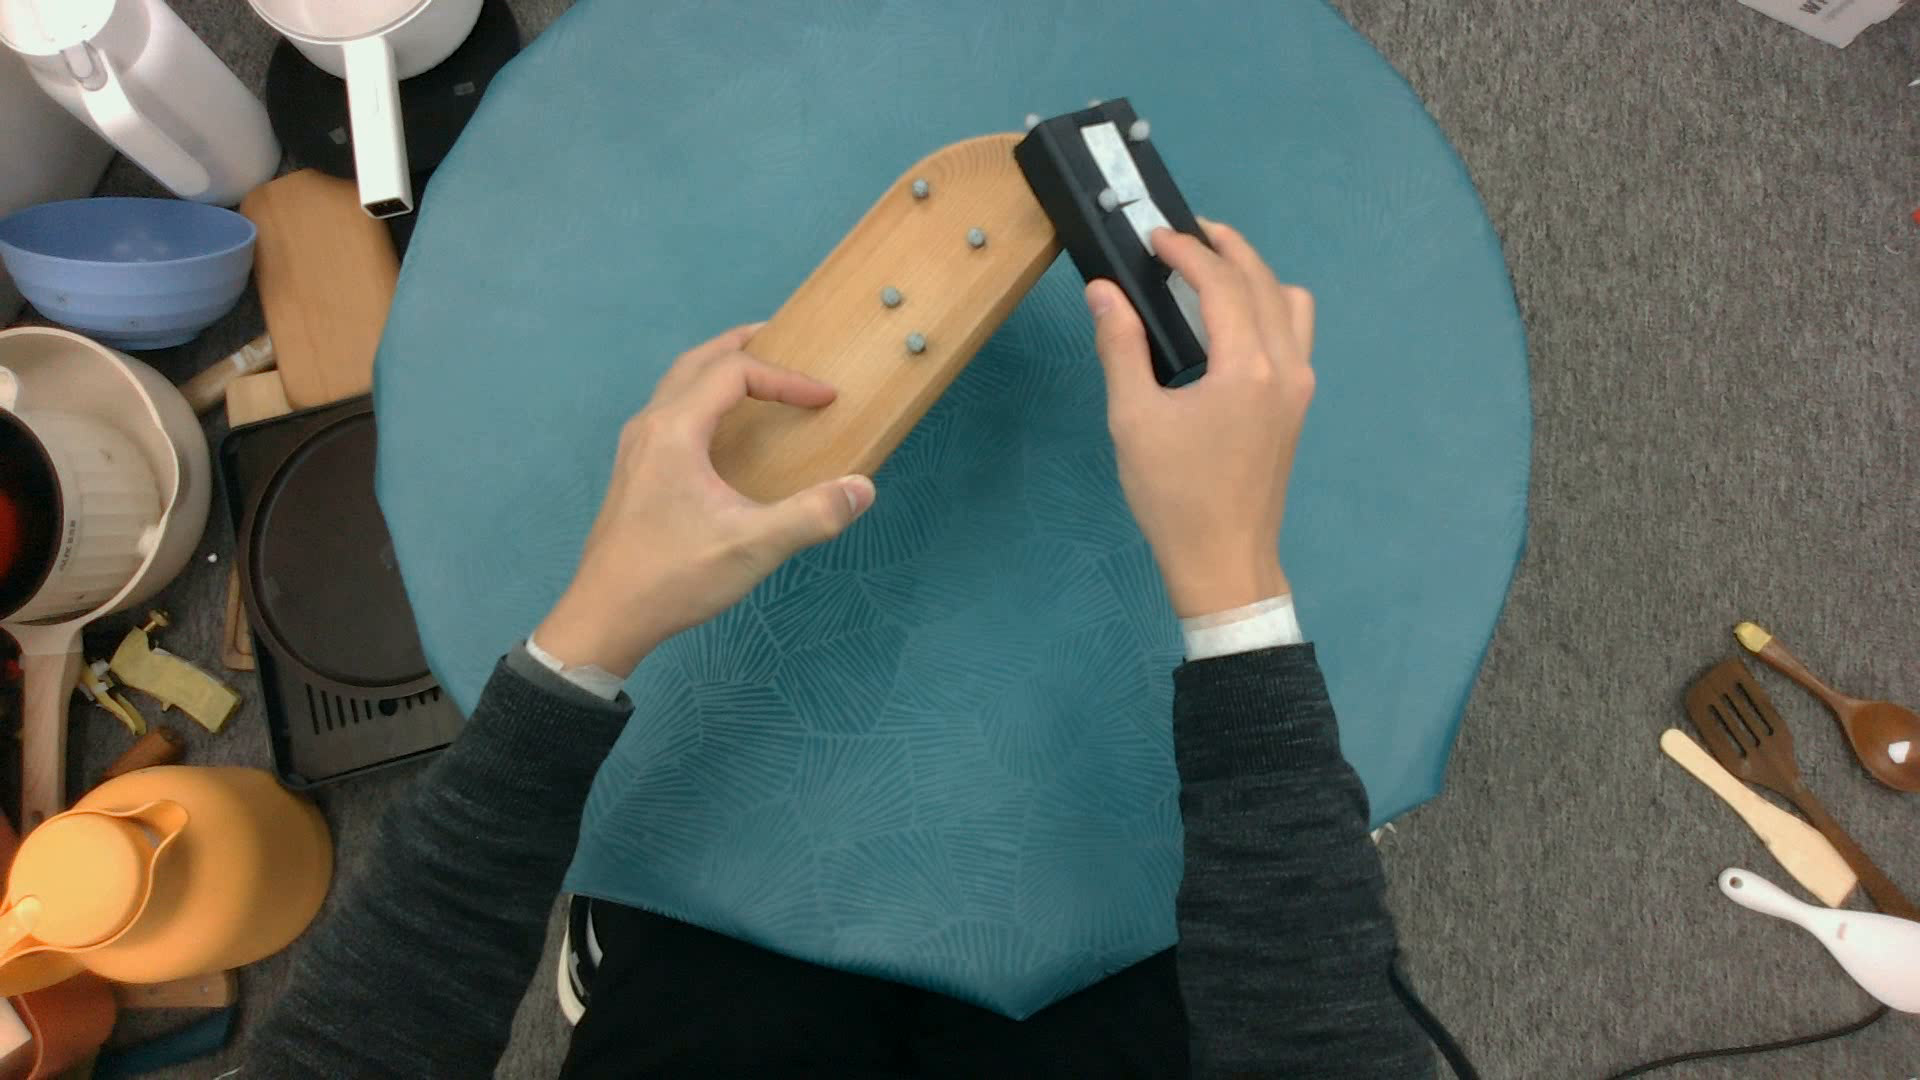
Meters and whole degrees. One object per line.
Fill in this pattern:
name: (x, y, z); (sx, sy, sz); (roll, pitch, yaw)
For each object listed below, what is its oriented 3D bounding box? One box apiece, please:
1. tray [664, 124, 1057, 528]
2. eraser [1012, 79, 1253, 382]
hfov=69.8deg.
tray: (-0.040, -0.098, 0.603); (0.101, 0.020, 0.232); (23, 69, 37)
eraser: (0.073, -0.133, 0.591); (0.054, 0.030, 0.125); (-25, 84, -26)
